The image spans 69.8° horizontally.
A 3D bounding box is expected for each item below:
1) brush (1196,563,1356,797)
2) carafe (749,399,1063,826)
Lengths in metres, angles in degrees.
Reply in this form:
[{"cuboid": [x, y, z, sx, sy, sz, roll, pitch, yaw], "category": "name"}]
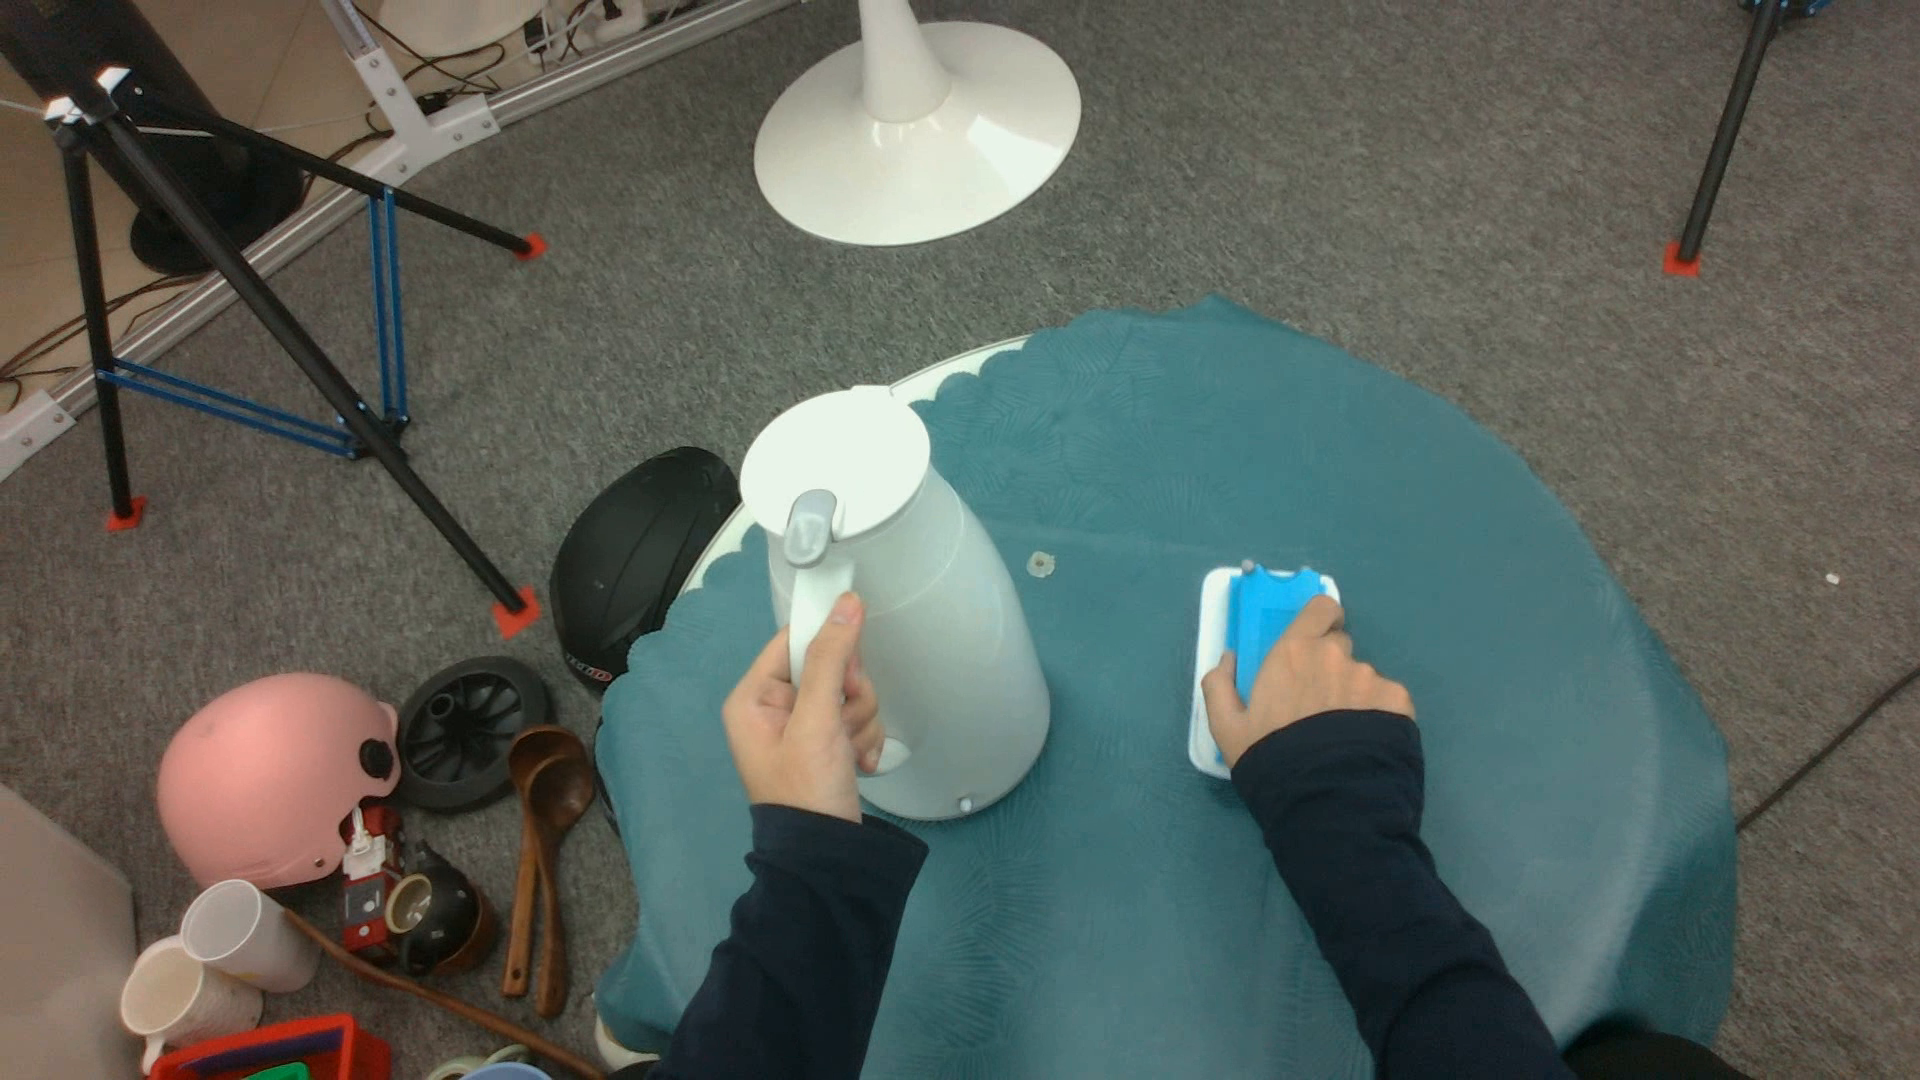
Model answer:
[{"cuboid": [0.180, 0.070, 0.772, 0.084, 0.055, 0.144, 5, 54, 13], "category": "brush"}, {"cuboid": [-0.032, 0.055, 0.728, 0.132, 0.247, 0.168, -2, 53, 15], "category": "carafe"}]
